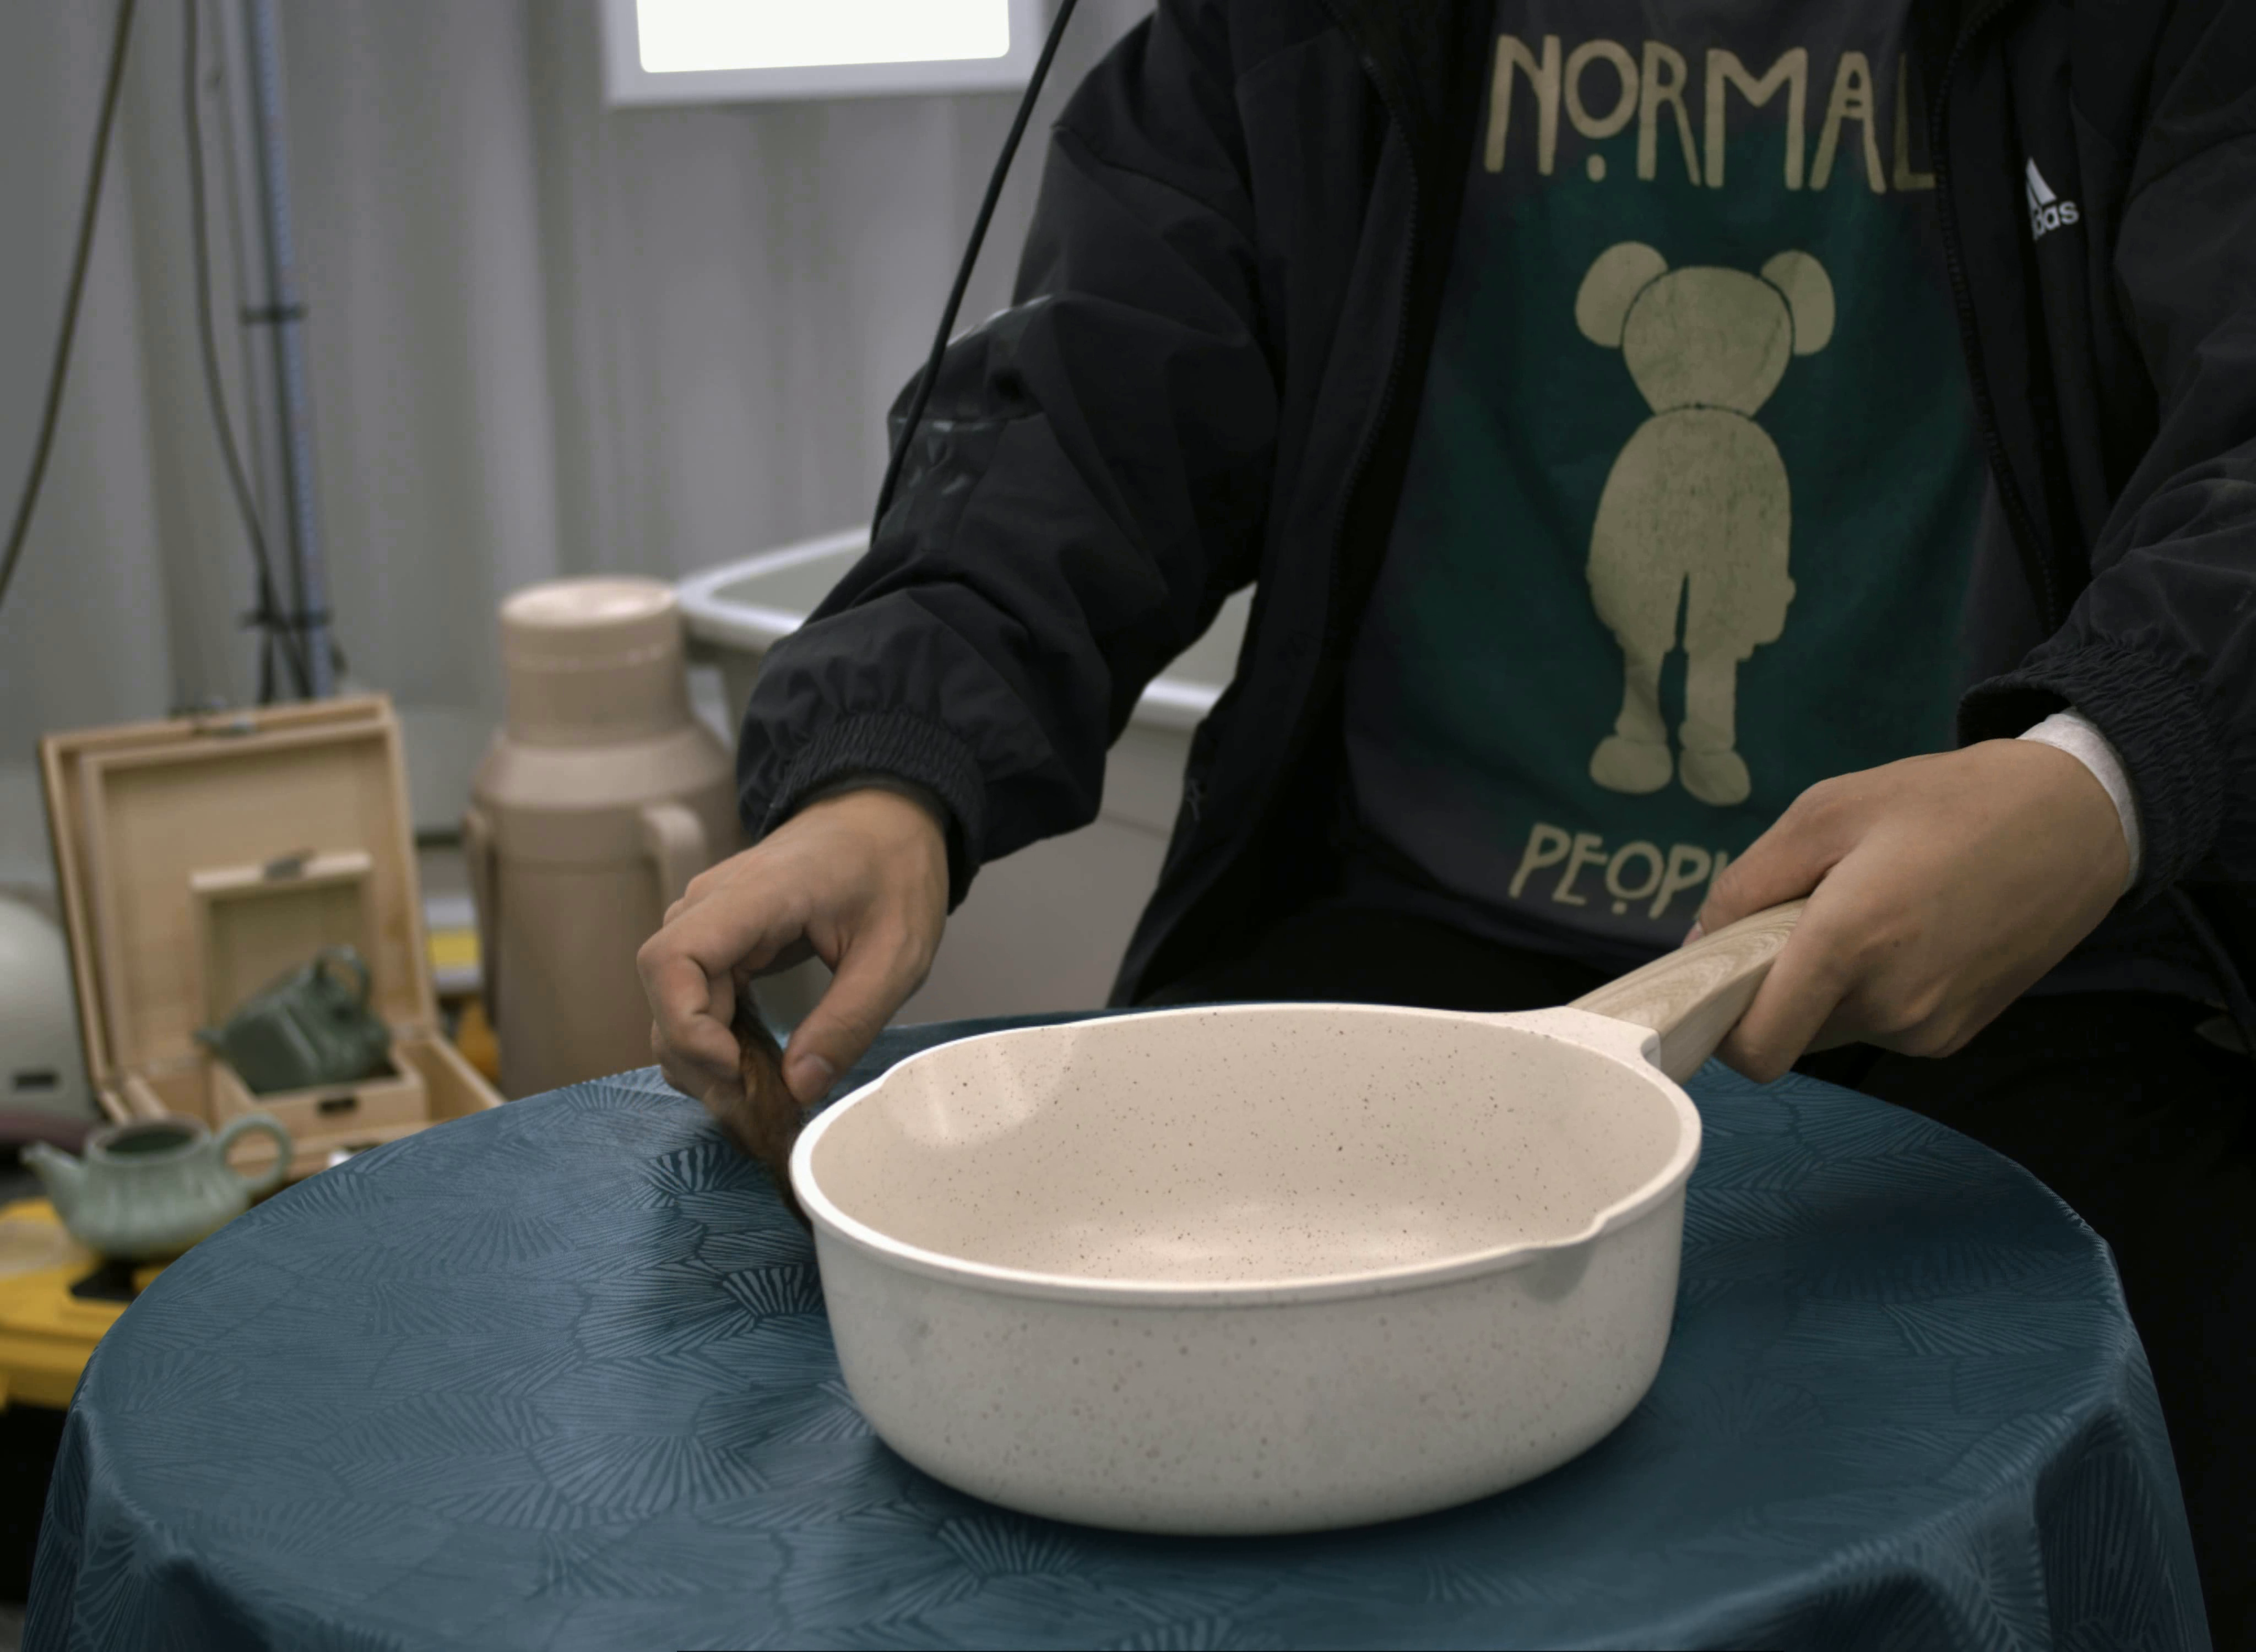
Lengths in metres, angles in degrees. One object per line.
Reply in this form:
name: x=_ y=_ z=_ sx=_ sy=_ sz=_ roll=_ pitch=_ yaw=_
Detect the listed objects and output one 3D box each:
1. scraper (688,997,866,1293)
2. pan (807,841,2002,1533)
scraper: x=-0.112 y=0.092 z=1.713 sx=0.011 sy=0.075 sz=0.213 roll=-44 pitch=14 yaw=6
pan: x=0.107 y=0.098 z=1.566 sx=0.434 sy=0.101 sz=0.265 roll=-15 pitch=17 yaw=-39
